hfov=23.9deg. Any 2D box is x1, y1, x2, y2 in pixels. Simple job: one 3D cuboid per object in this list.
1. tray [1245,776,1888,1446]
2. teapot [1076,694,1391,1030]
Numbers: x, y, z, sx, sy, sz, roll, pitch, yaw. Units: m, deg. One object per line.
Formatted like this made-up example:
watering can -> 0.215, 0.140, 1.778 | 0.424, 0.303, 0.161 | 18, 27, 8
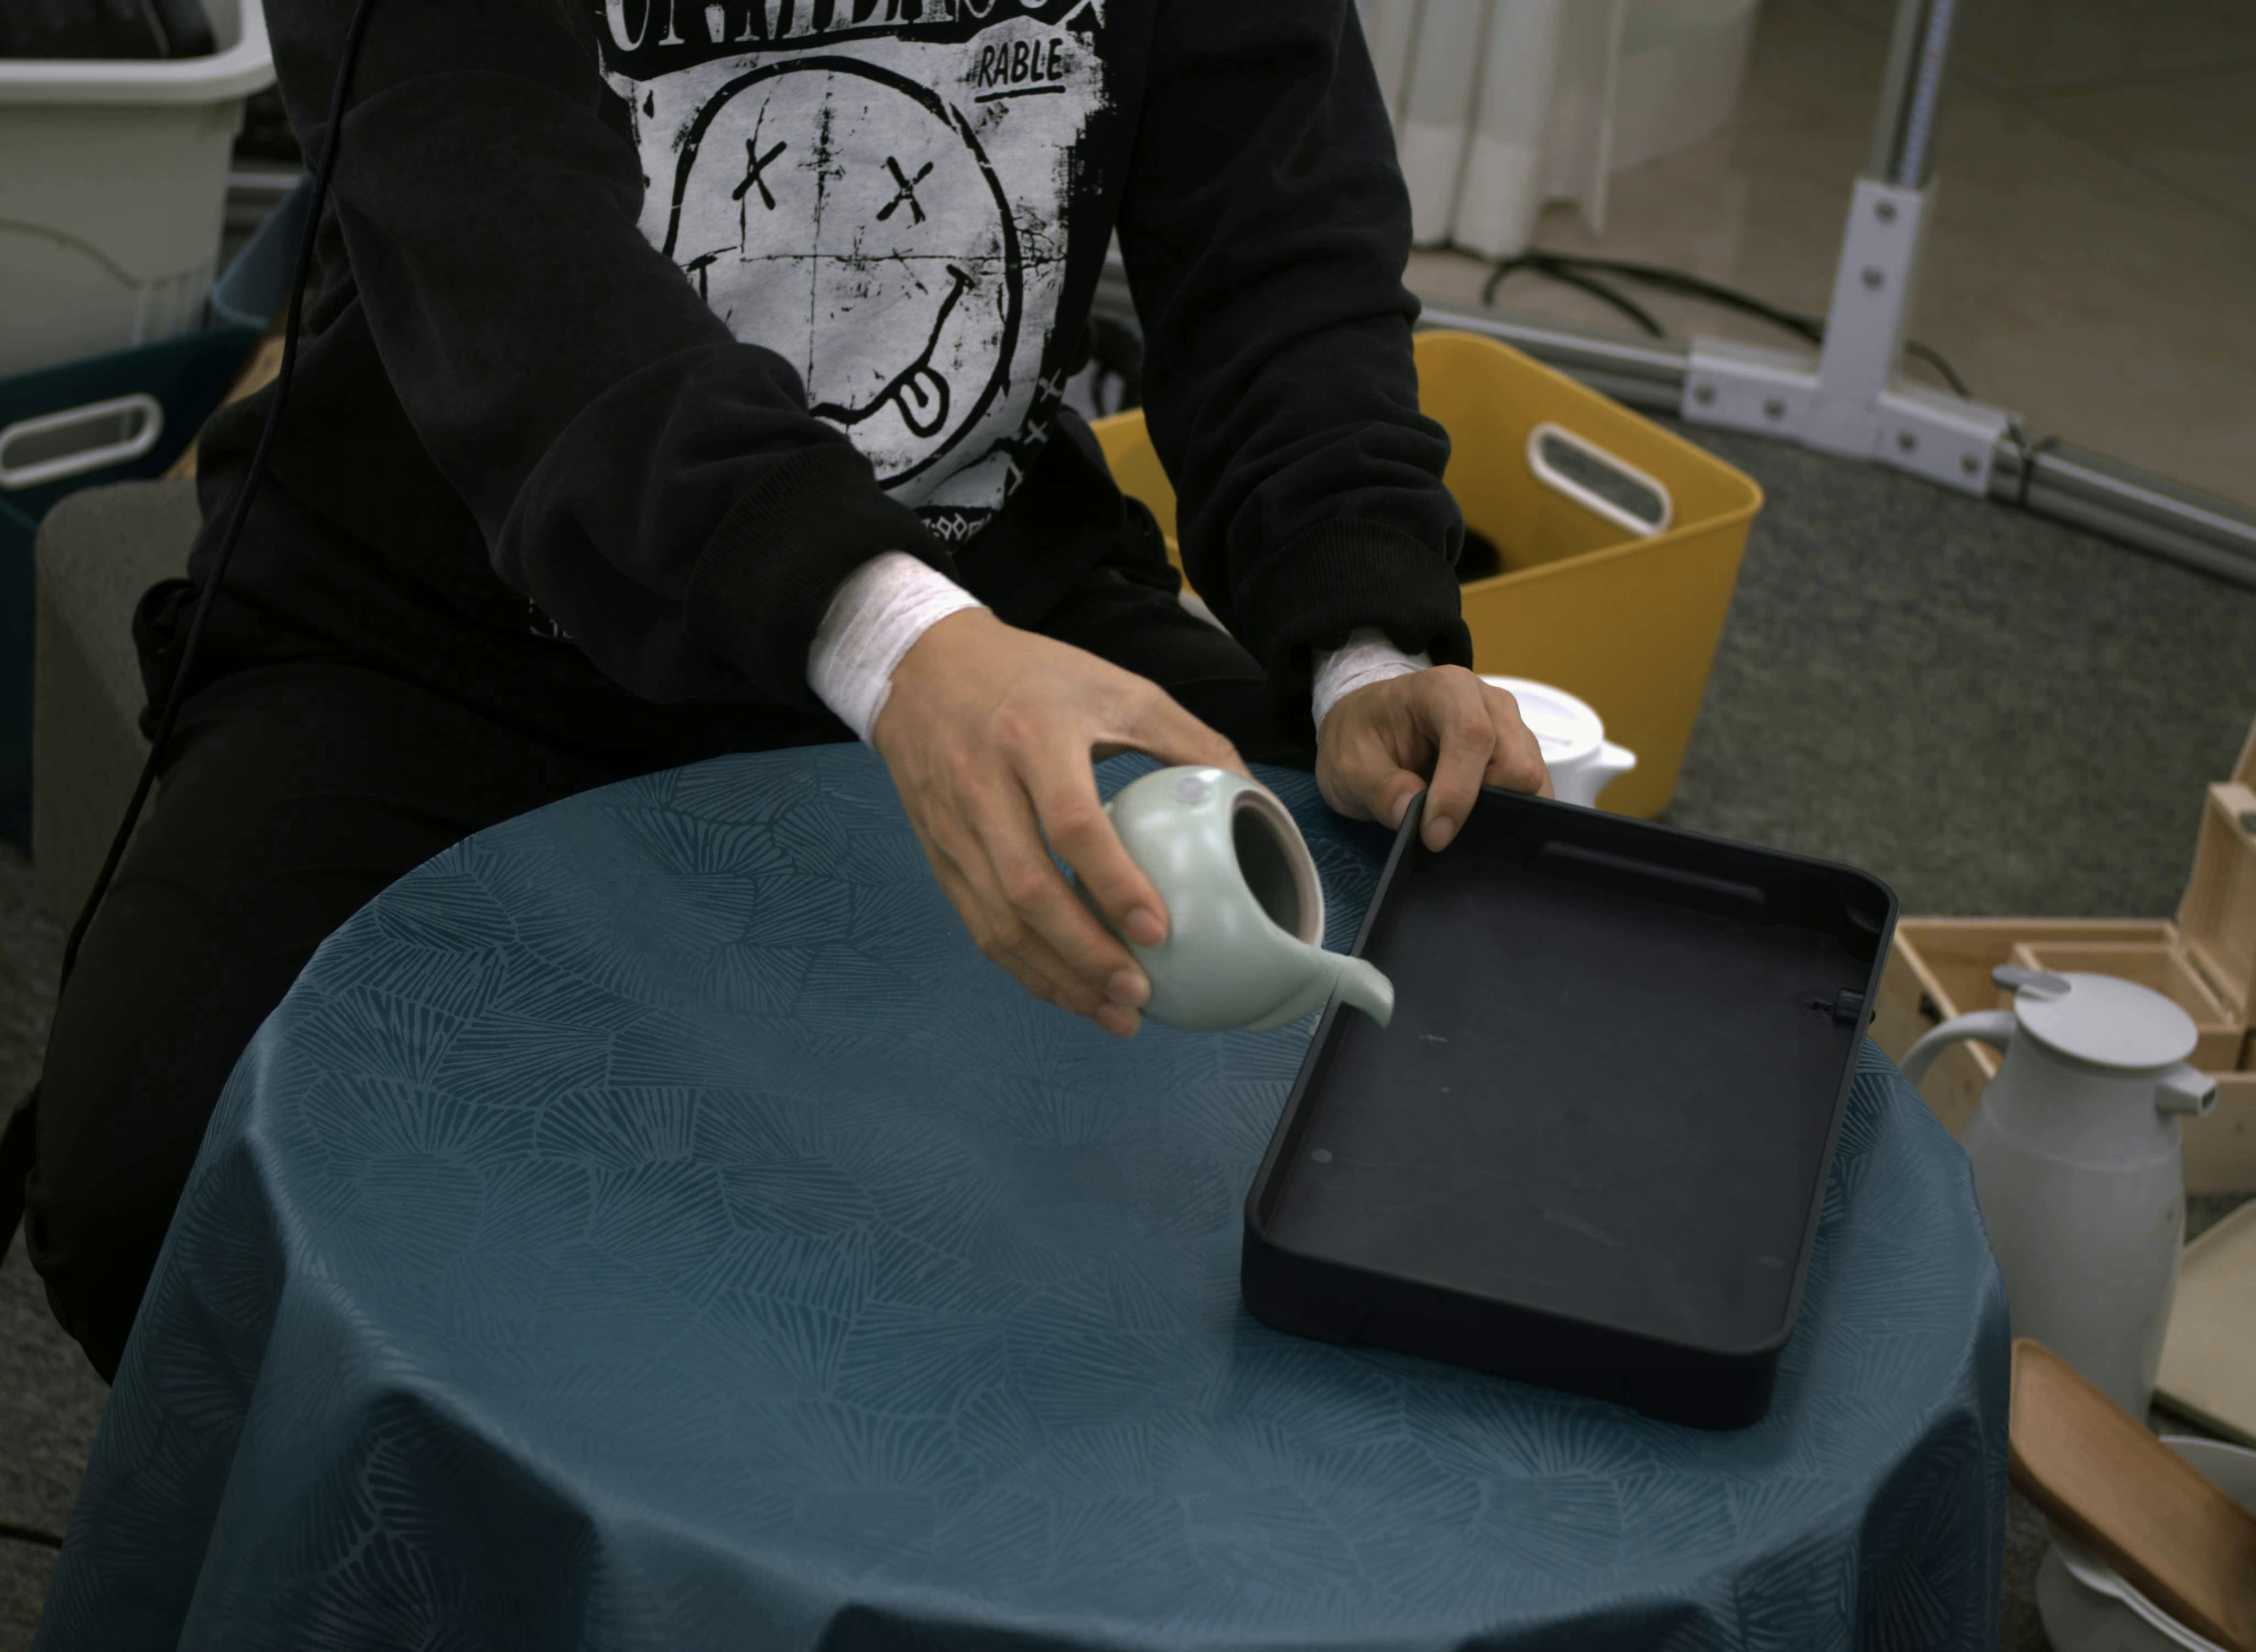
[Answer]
tray -> 0.156, 0.091, 1.836 | 0.184, 0.037, 0.319 | 12, 32, 7
teapot -> 0.025, 0.022, 1.734 | 0.075, 0.143, 0.089 | -21, 27, 23
